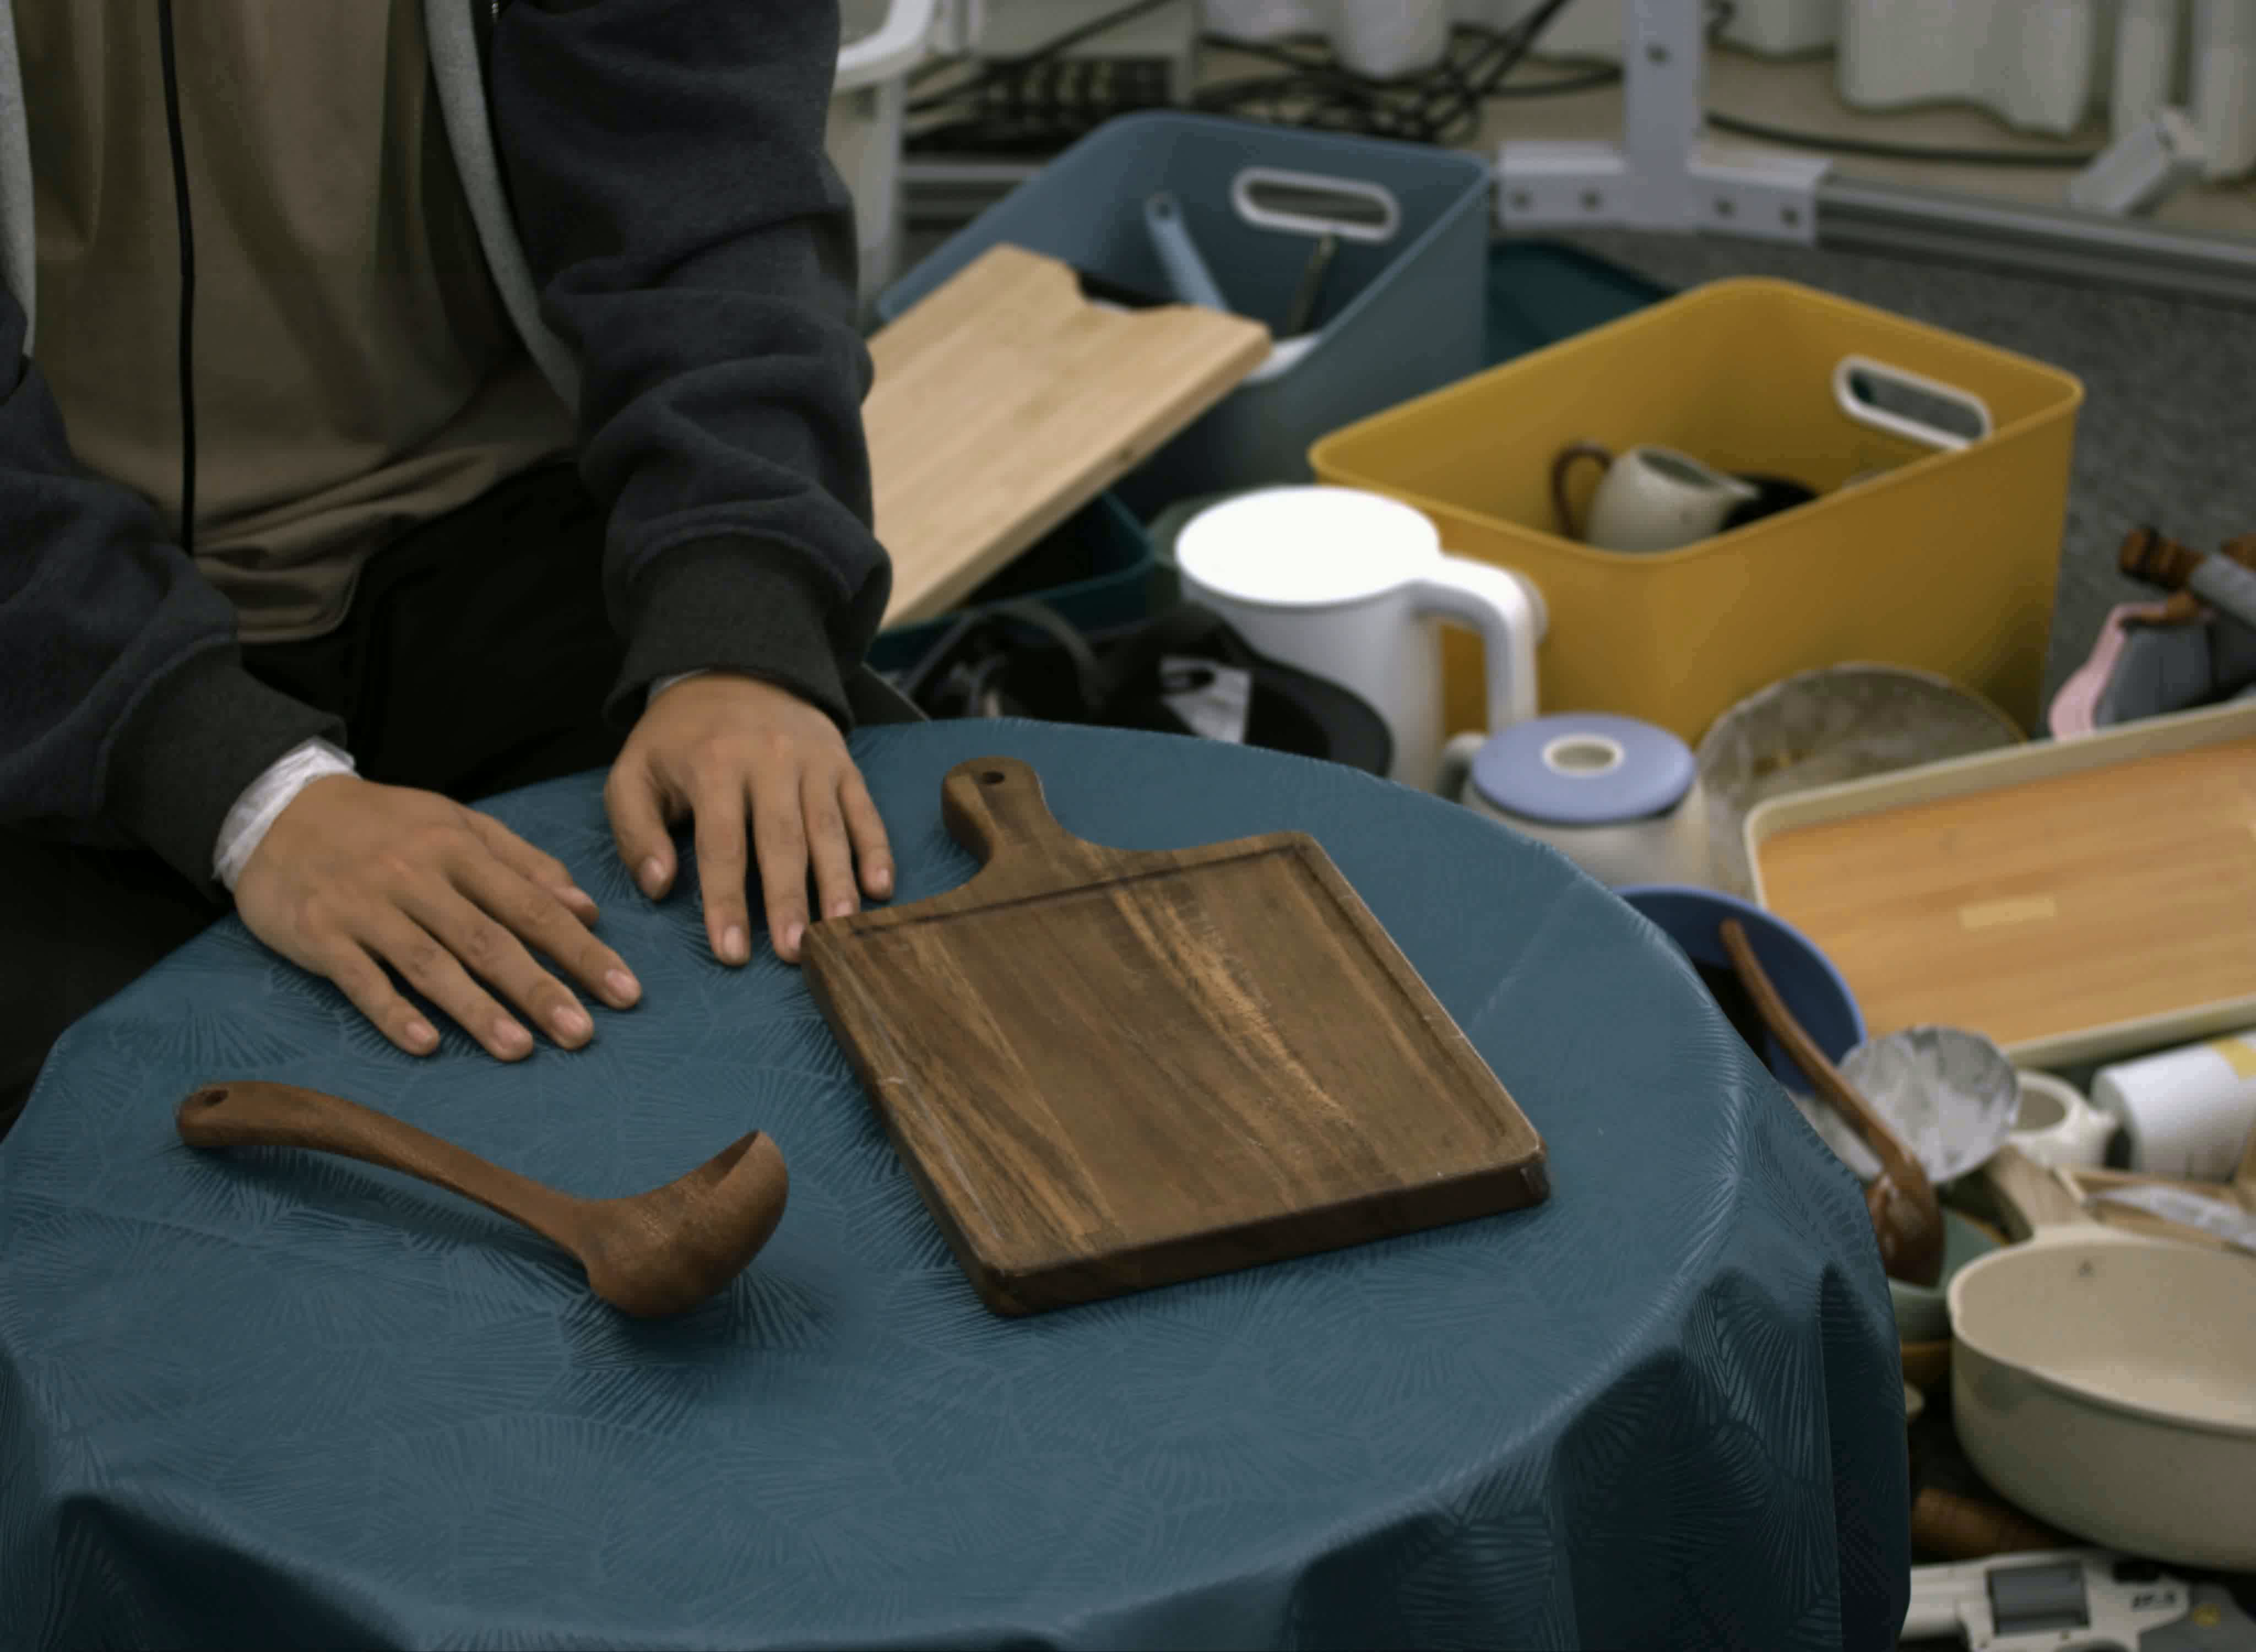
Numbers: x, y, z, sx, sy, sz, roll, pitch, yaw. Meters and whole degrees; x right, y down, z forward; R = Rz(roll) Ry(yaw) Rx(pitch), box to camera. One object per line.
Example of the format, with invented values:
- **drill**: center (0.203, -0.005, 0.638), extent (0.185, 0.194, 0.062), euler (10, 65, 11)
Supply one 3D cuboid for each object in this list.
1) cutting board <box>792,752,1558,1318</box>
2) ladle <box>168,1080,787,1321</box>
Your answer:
- **cutting board**: center (-0.004, 0.058, 1.961), extent (0.201, 0.023, 0.355), euler (-10, 29, -15)
- **ladle**: center (-0.221, 0.107, 1.843), extent (0.259, 0.064, 0.078), euler (15, 40, 31)
